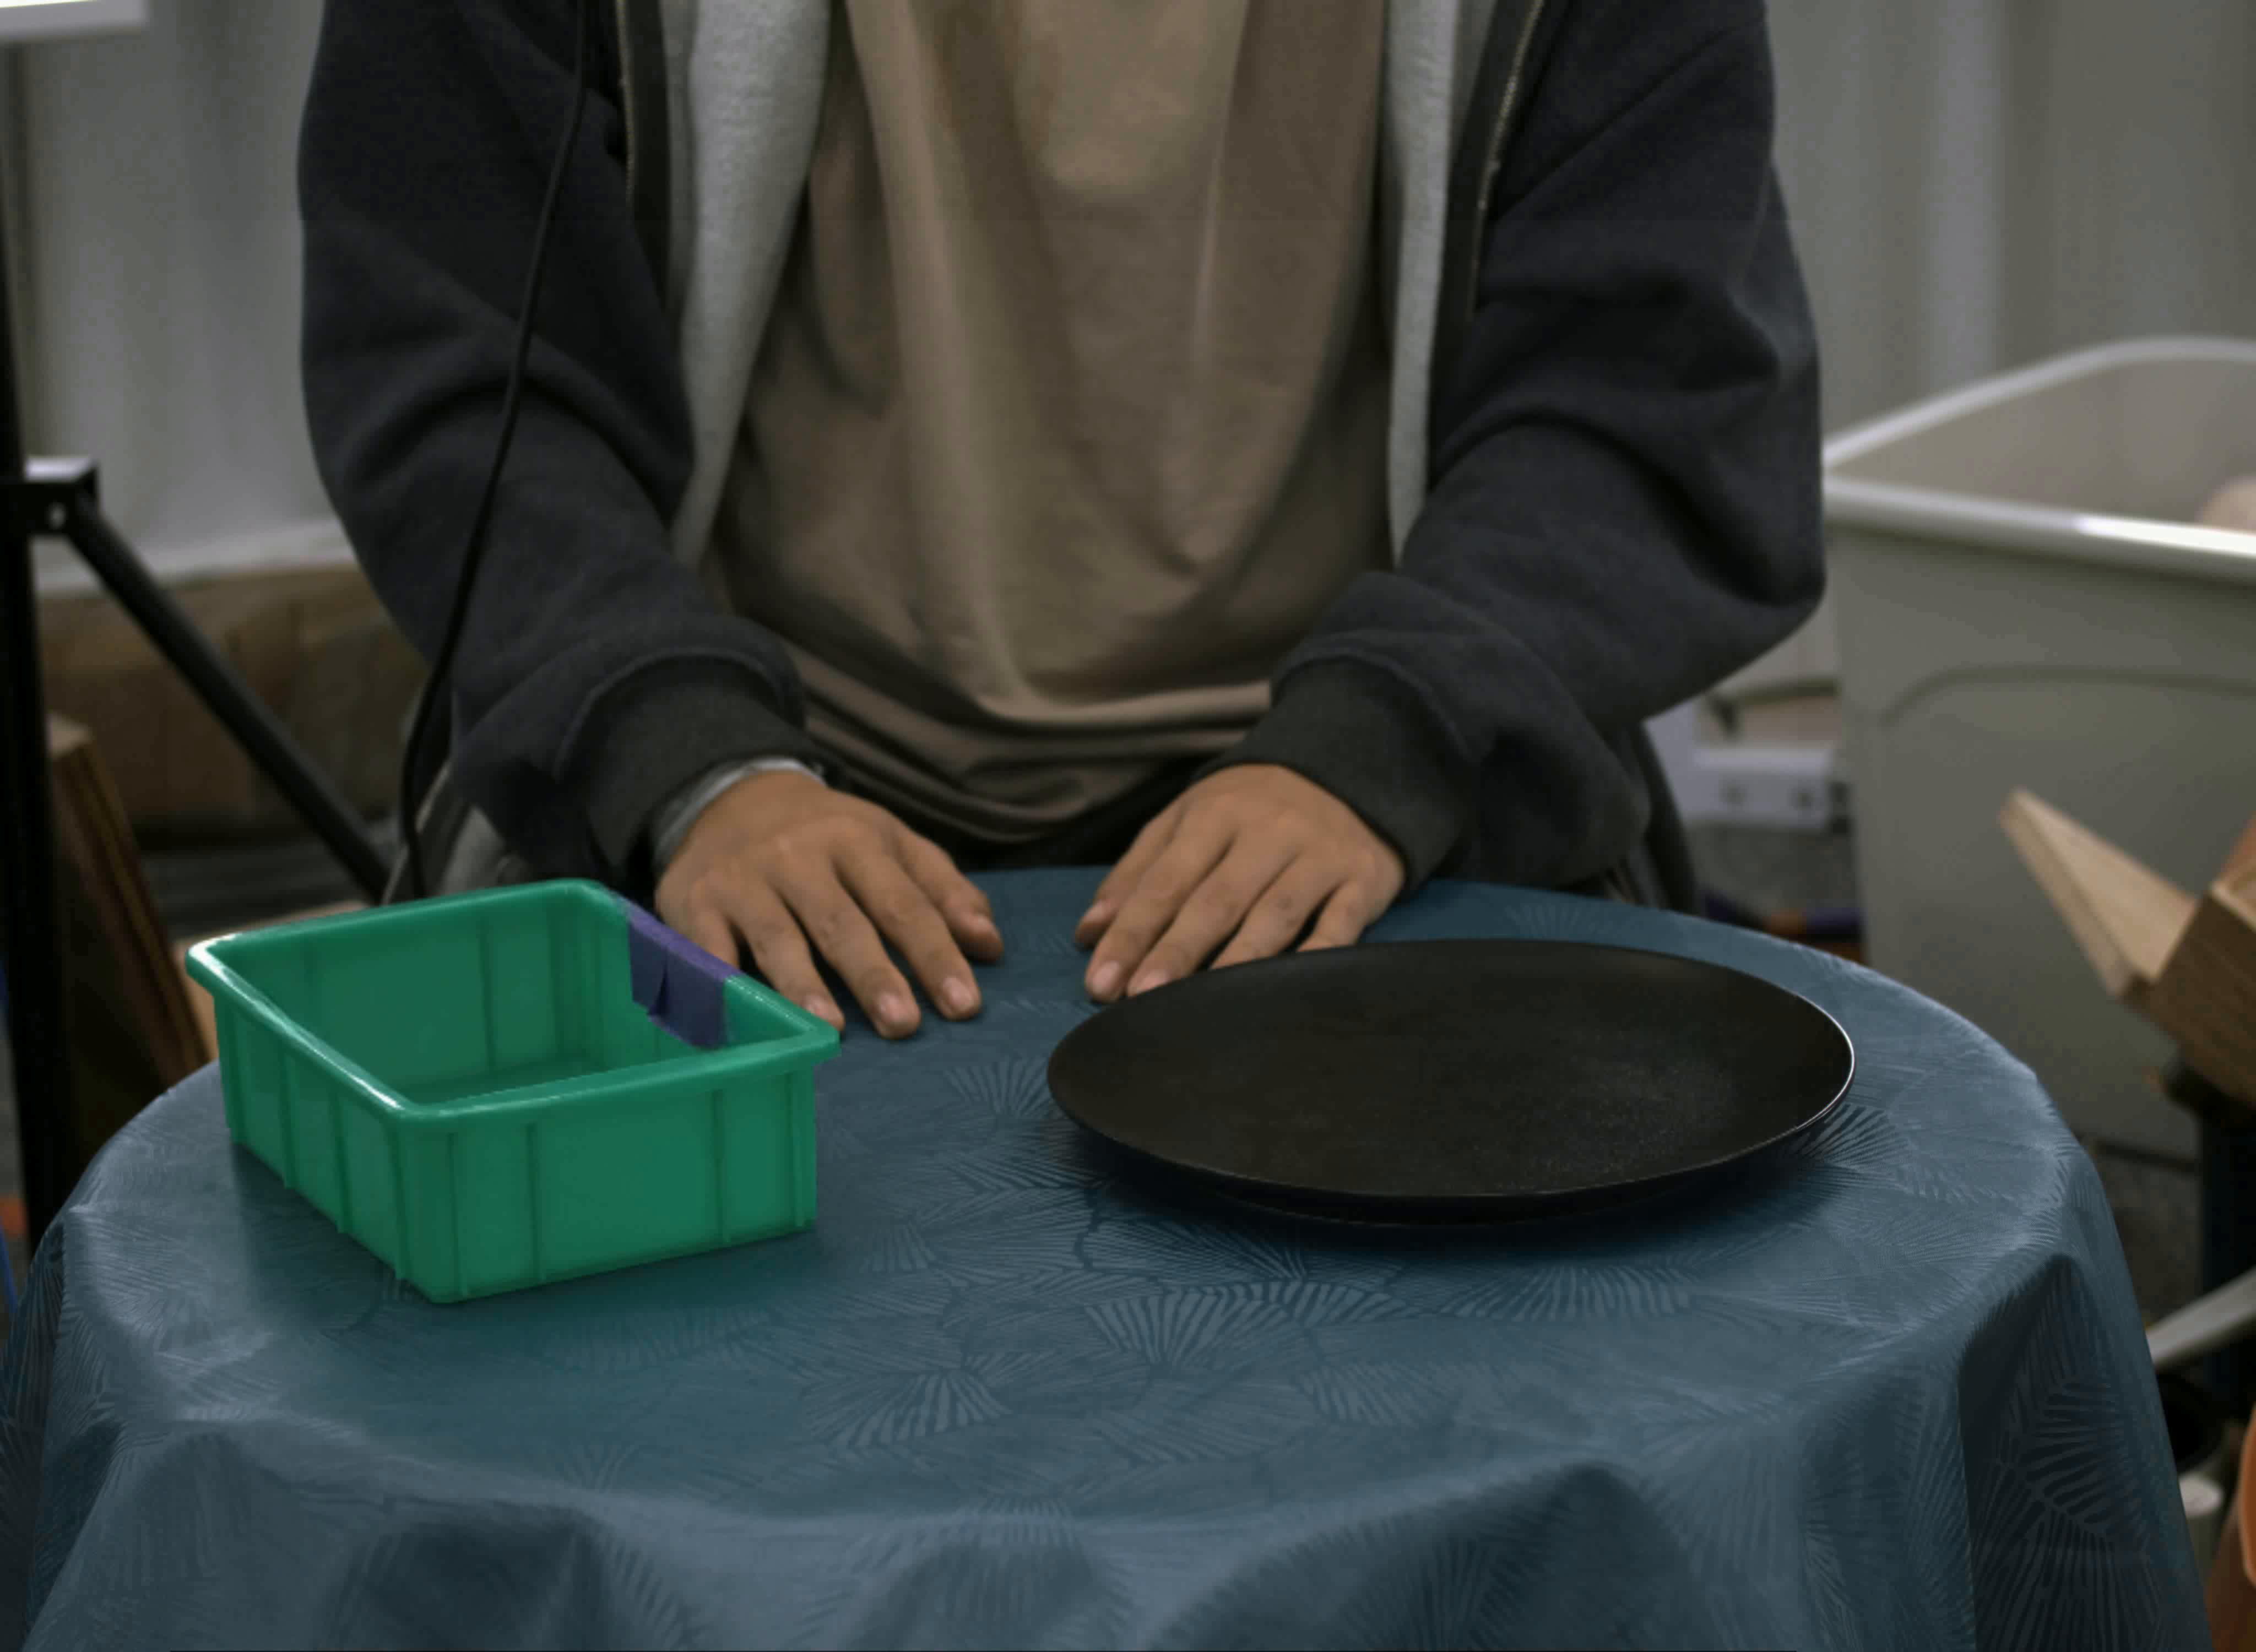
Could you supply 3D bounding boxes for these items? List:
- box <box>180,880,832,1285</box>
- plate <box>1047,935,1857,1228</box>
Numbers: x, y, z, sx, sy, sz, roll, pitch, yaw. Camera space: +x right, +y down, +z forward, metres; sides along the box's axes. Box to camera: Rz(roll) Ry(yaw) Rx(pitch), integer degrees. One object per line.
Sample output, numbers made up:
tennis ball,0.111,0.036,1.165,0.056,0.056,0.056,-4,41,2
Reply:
box,-0.186,0.075,1.592,0.135,0.065,0.215,-8,15,-27
plate,0.097,0.080,1.601,0.243,0.023,0.245,-3,16,-1
